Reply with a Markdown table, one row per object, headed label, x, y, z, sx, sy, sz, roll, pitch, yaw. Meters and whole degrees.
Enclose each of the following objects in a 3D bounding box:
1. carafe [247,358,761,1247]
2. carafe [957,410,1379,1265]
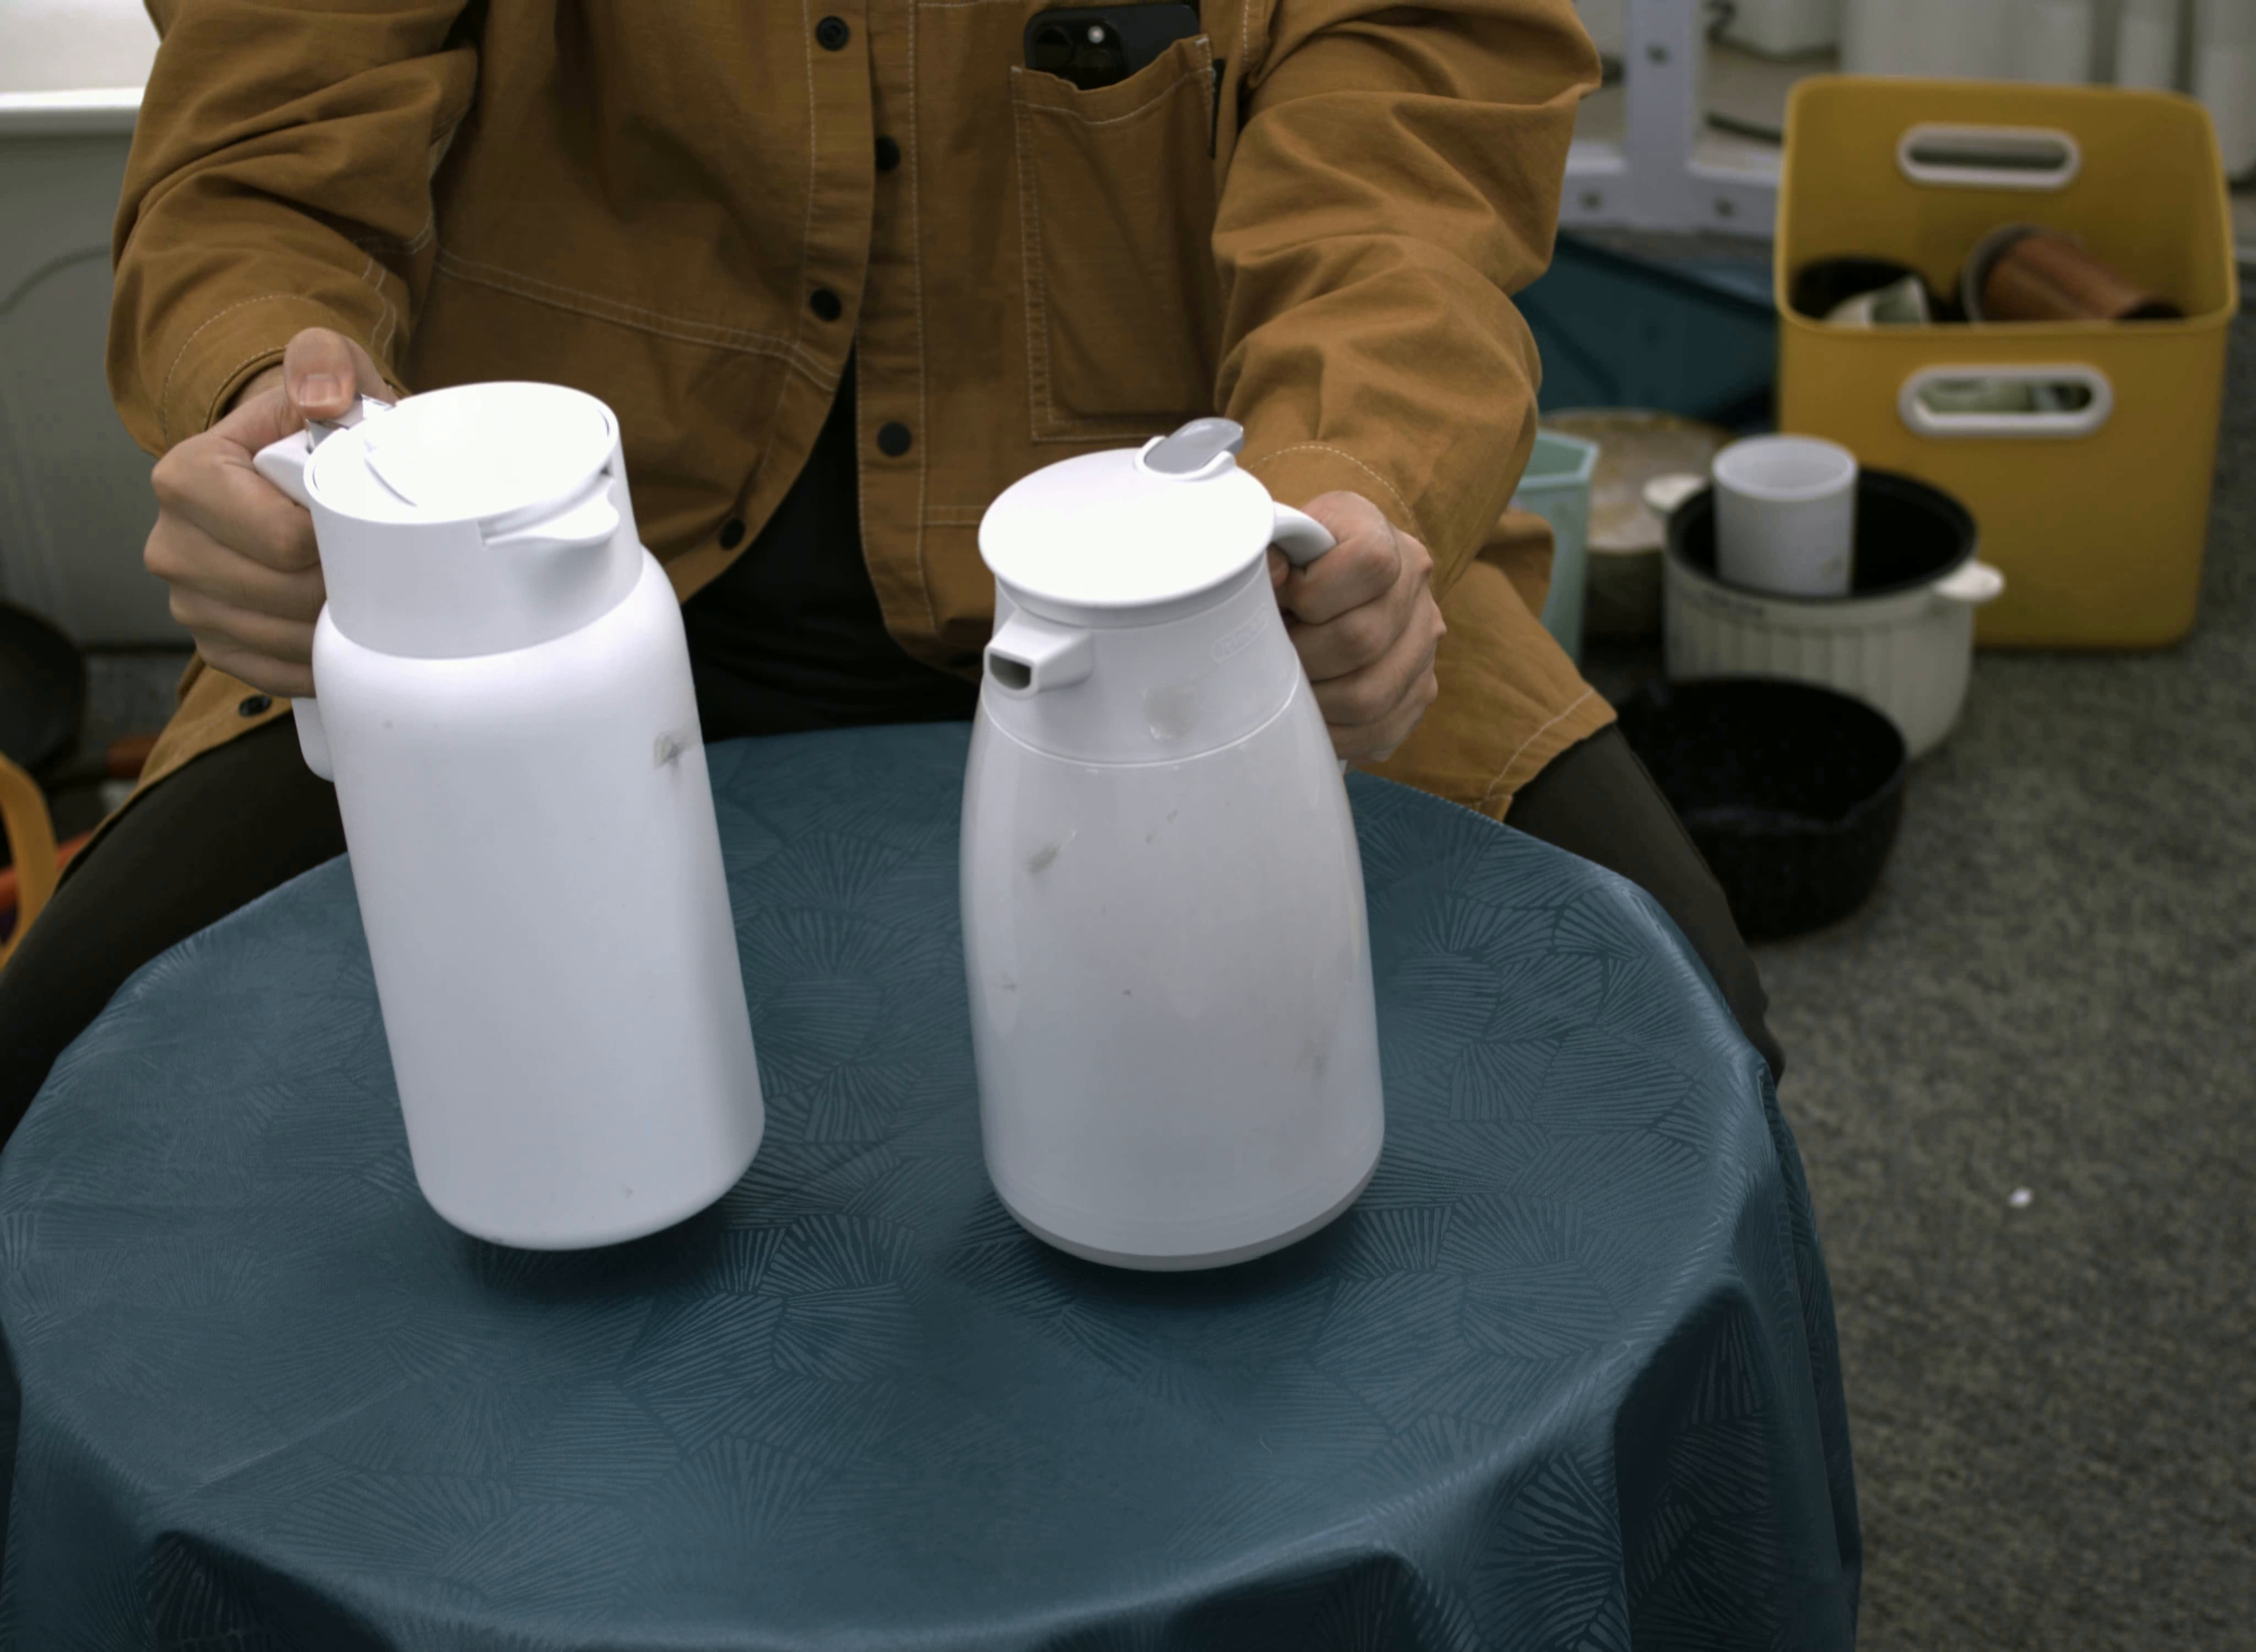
| label | x | y | z | sx | sy | sz | roll | pitch | yaw |
| --- | --- | --- | --- | --- | --- | --- | --- | --- | --- |
| carafe | -0.204 | -0.009 | 1.801 | 0.172 | 0.266 | 0.125 | 19 | 39 | 41 |
| carafe | 0.019 | -0.008 | 1.788 | 0.132 | 0.245 | 0.170 | 17 | 37 | 31 |
